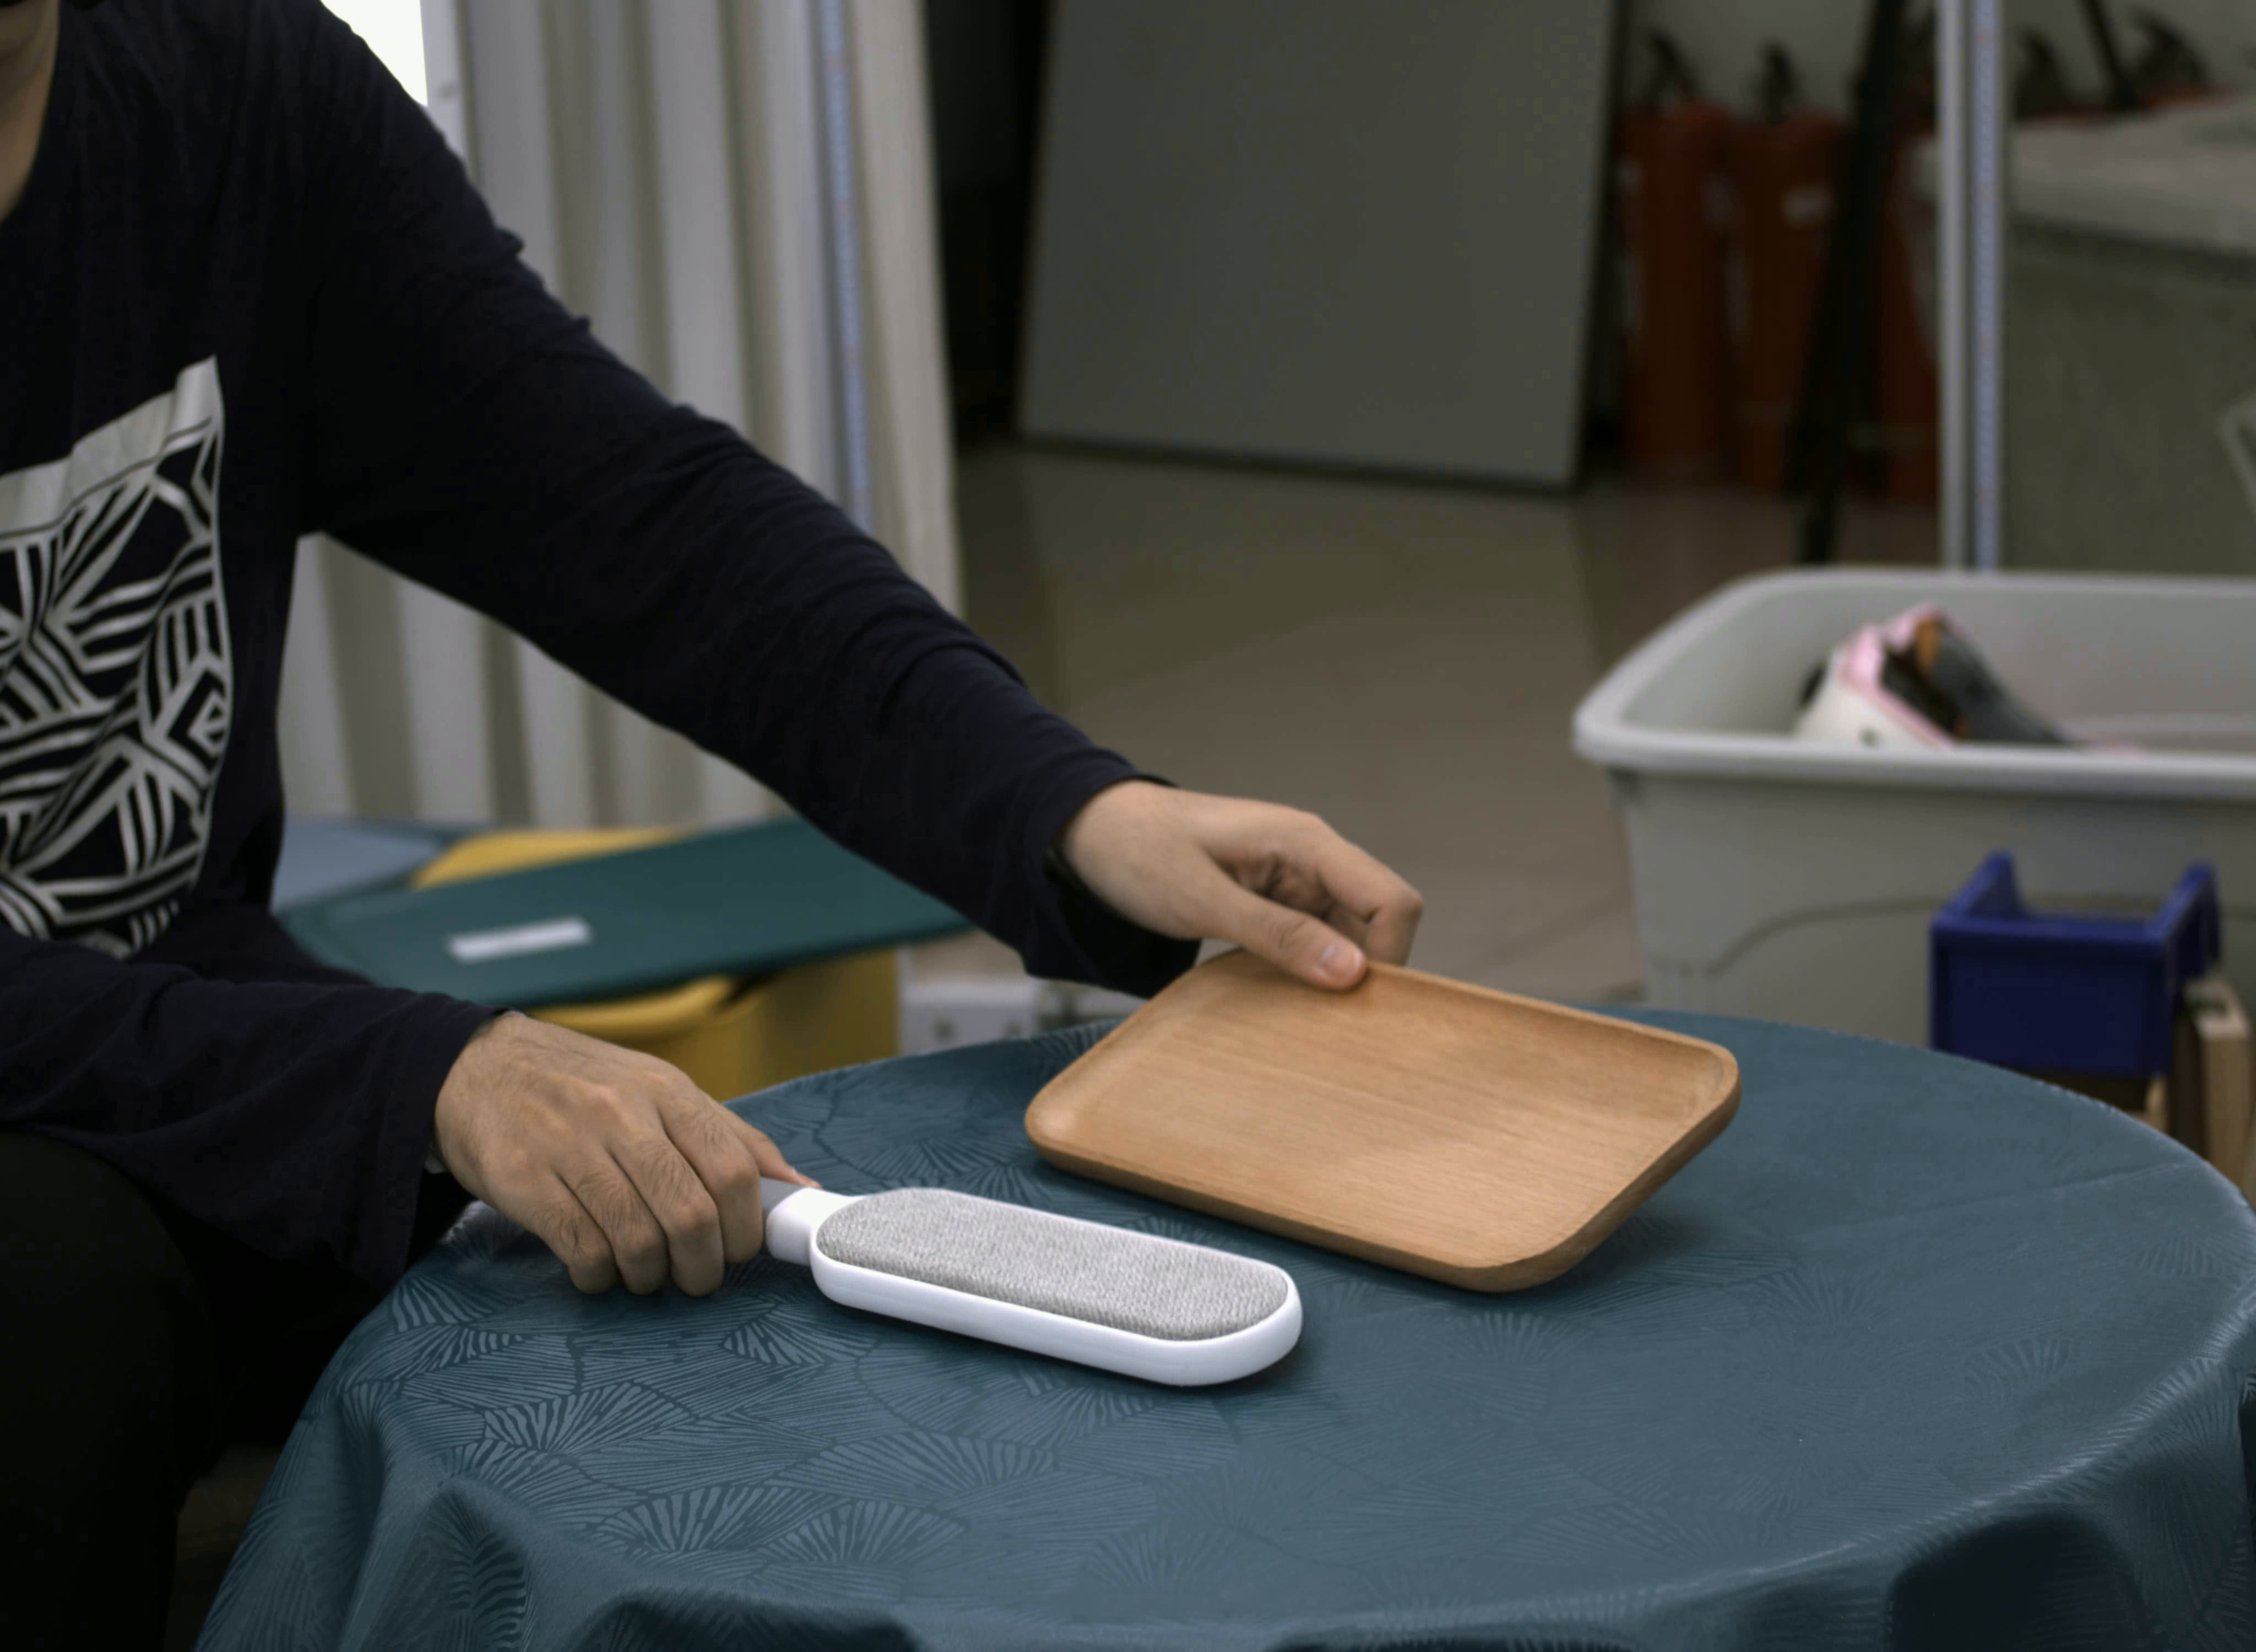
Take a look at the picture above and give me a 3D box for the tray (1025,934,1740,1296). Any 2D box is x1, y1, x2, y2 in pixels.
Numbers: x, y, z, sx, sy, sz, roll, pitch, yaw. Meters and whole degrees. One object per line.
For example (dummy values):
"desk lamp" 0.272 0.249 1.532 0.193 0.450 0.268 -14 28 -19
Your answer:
"tray" 0.080 0.092 1.752 0.128 0.023 0.253 -34 28 -30

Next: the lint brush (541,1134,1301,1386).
"lint brush" -0.071 0.130 1.680 0.311 0.021 0.059 9 33 40
